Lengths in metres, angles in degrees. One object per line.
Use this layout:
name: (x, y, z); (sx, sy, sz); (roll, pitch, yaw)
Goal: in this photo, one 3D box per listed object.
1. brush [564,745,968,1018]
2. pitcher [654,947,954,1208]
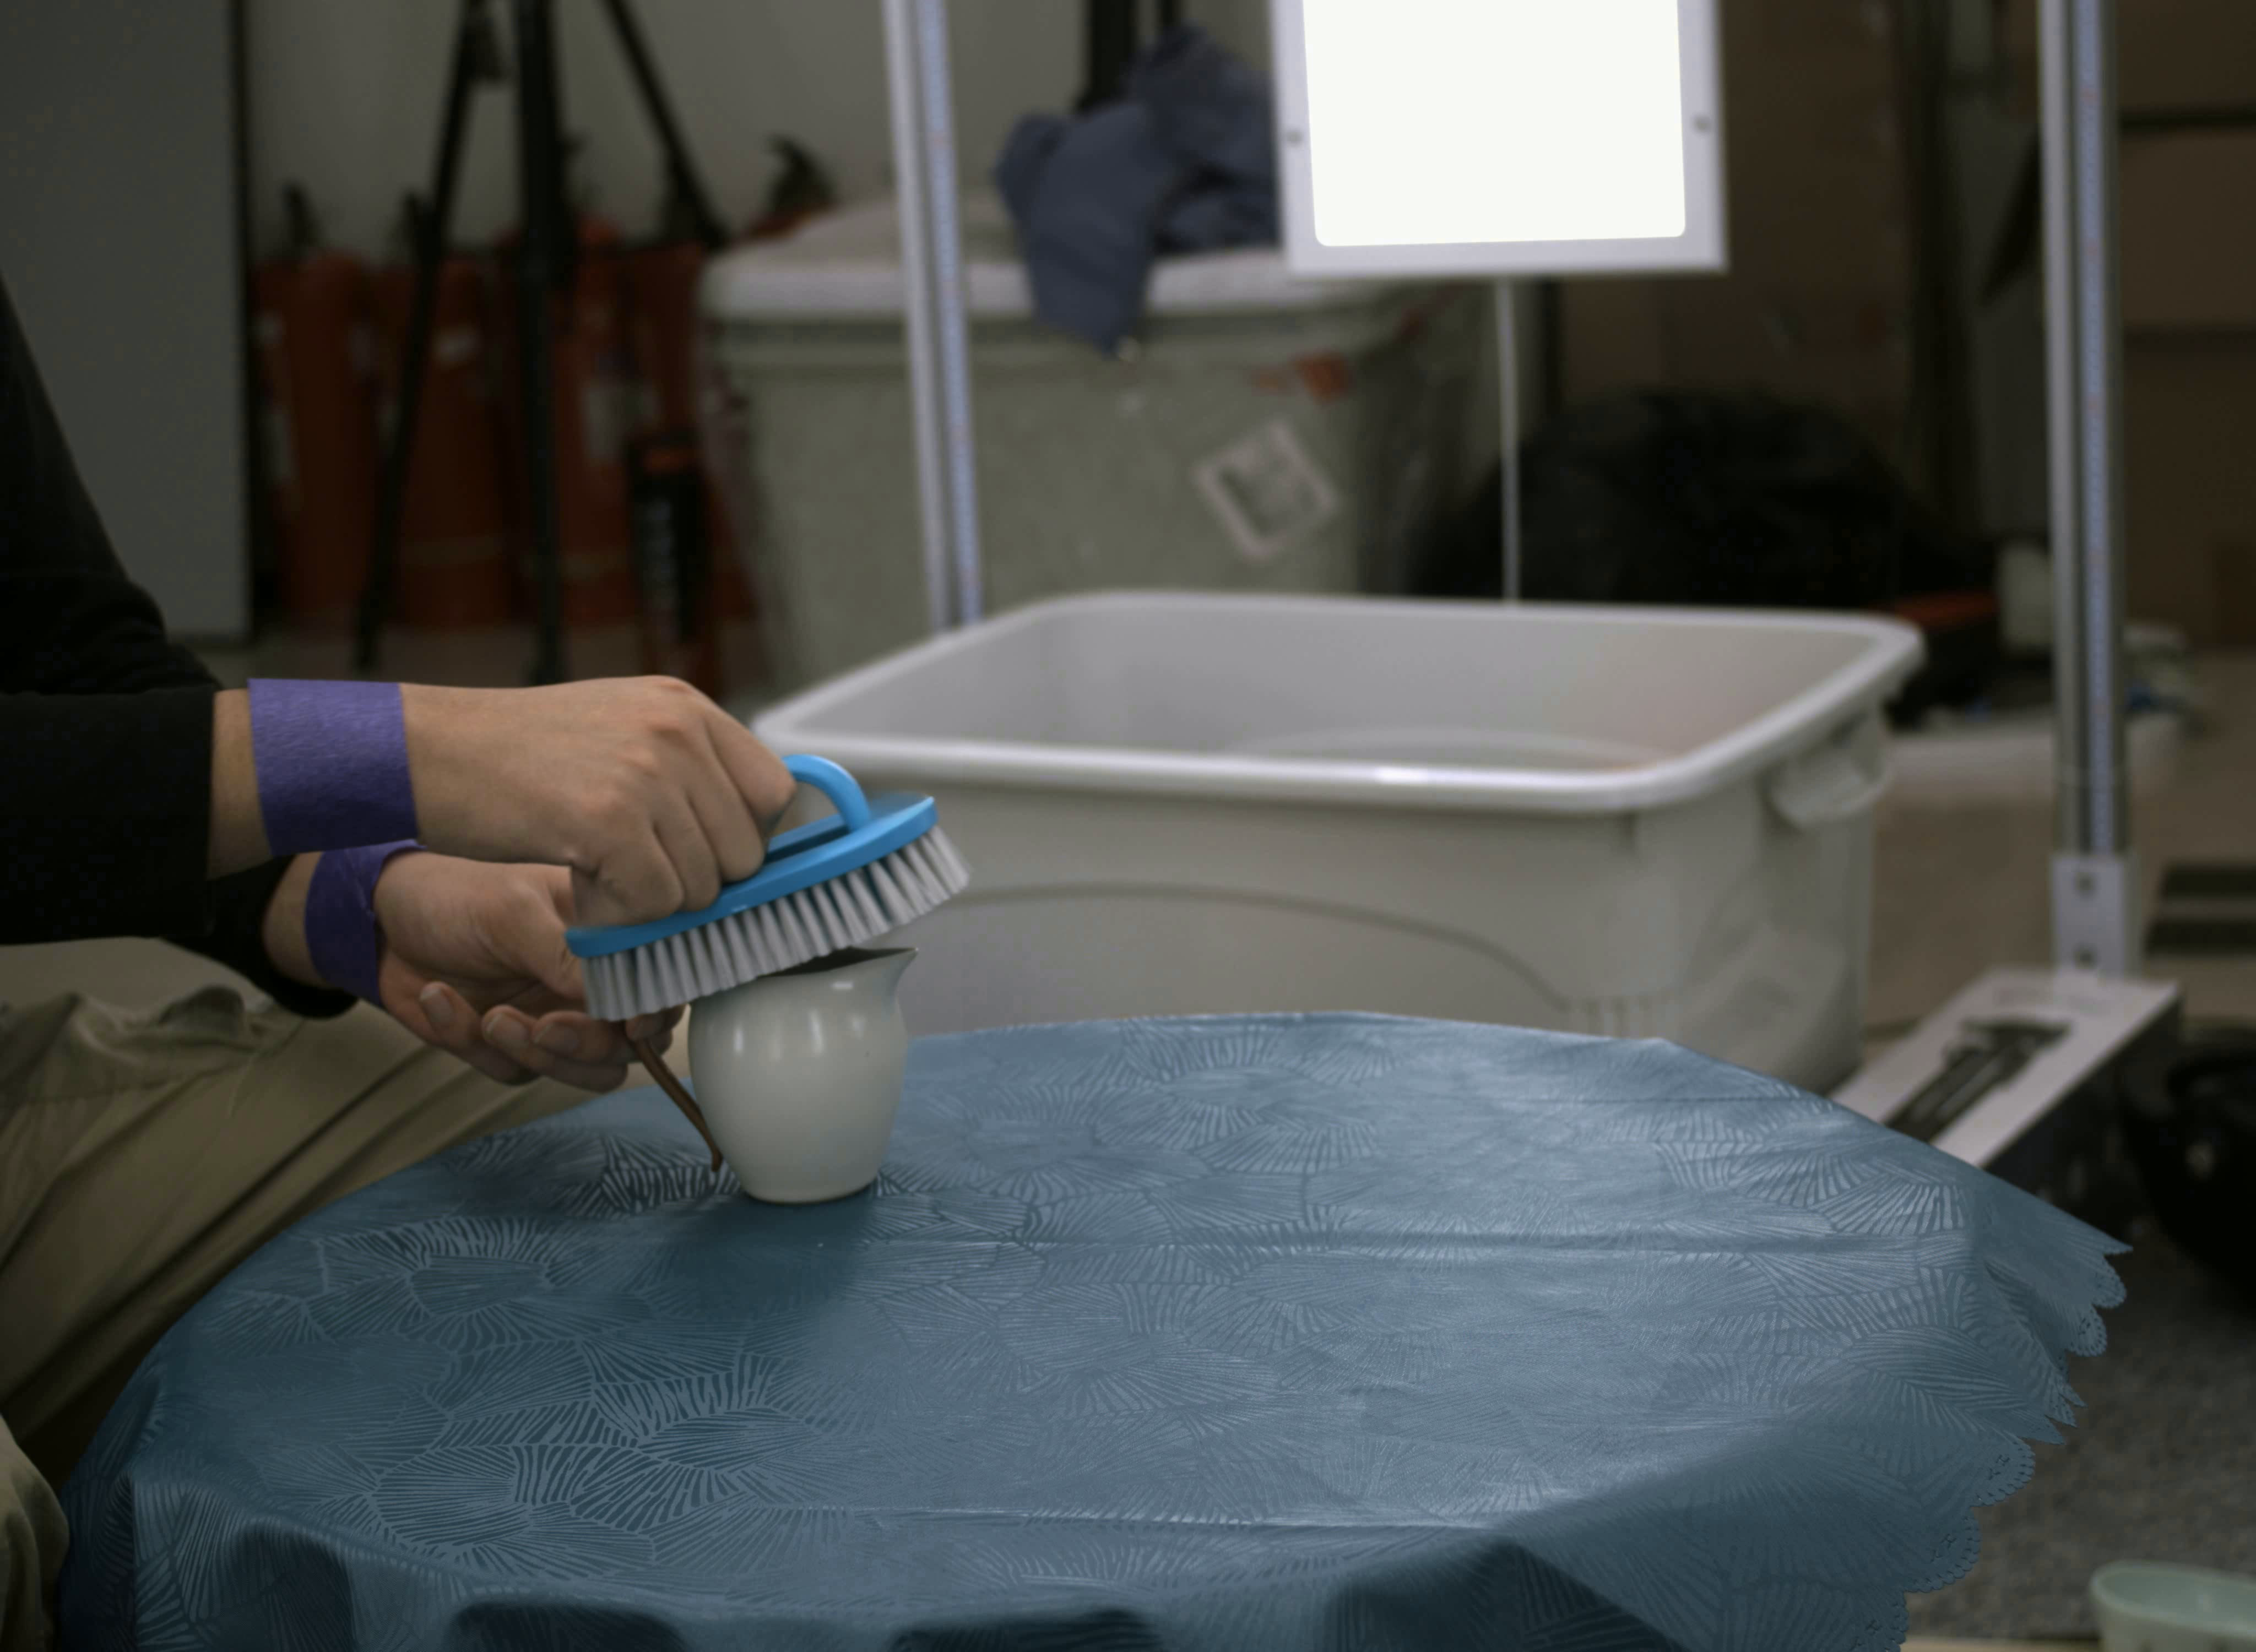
brush: (-0.131, 0.012, 1.899); (0.143, 0.064, 0.083); (-20, 15, 13)
pitcher: (-0.114, 0.085, 1.926); (0.121, 0.088, 0.074); (6, 12, 28)
